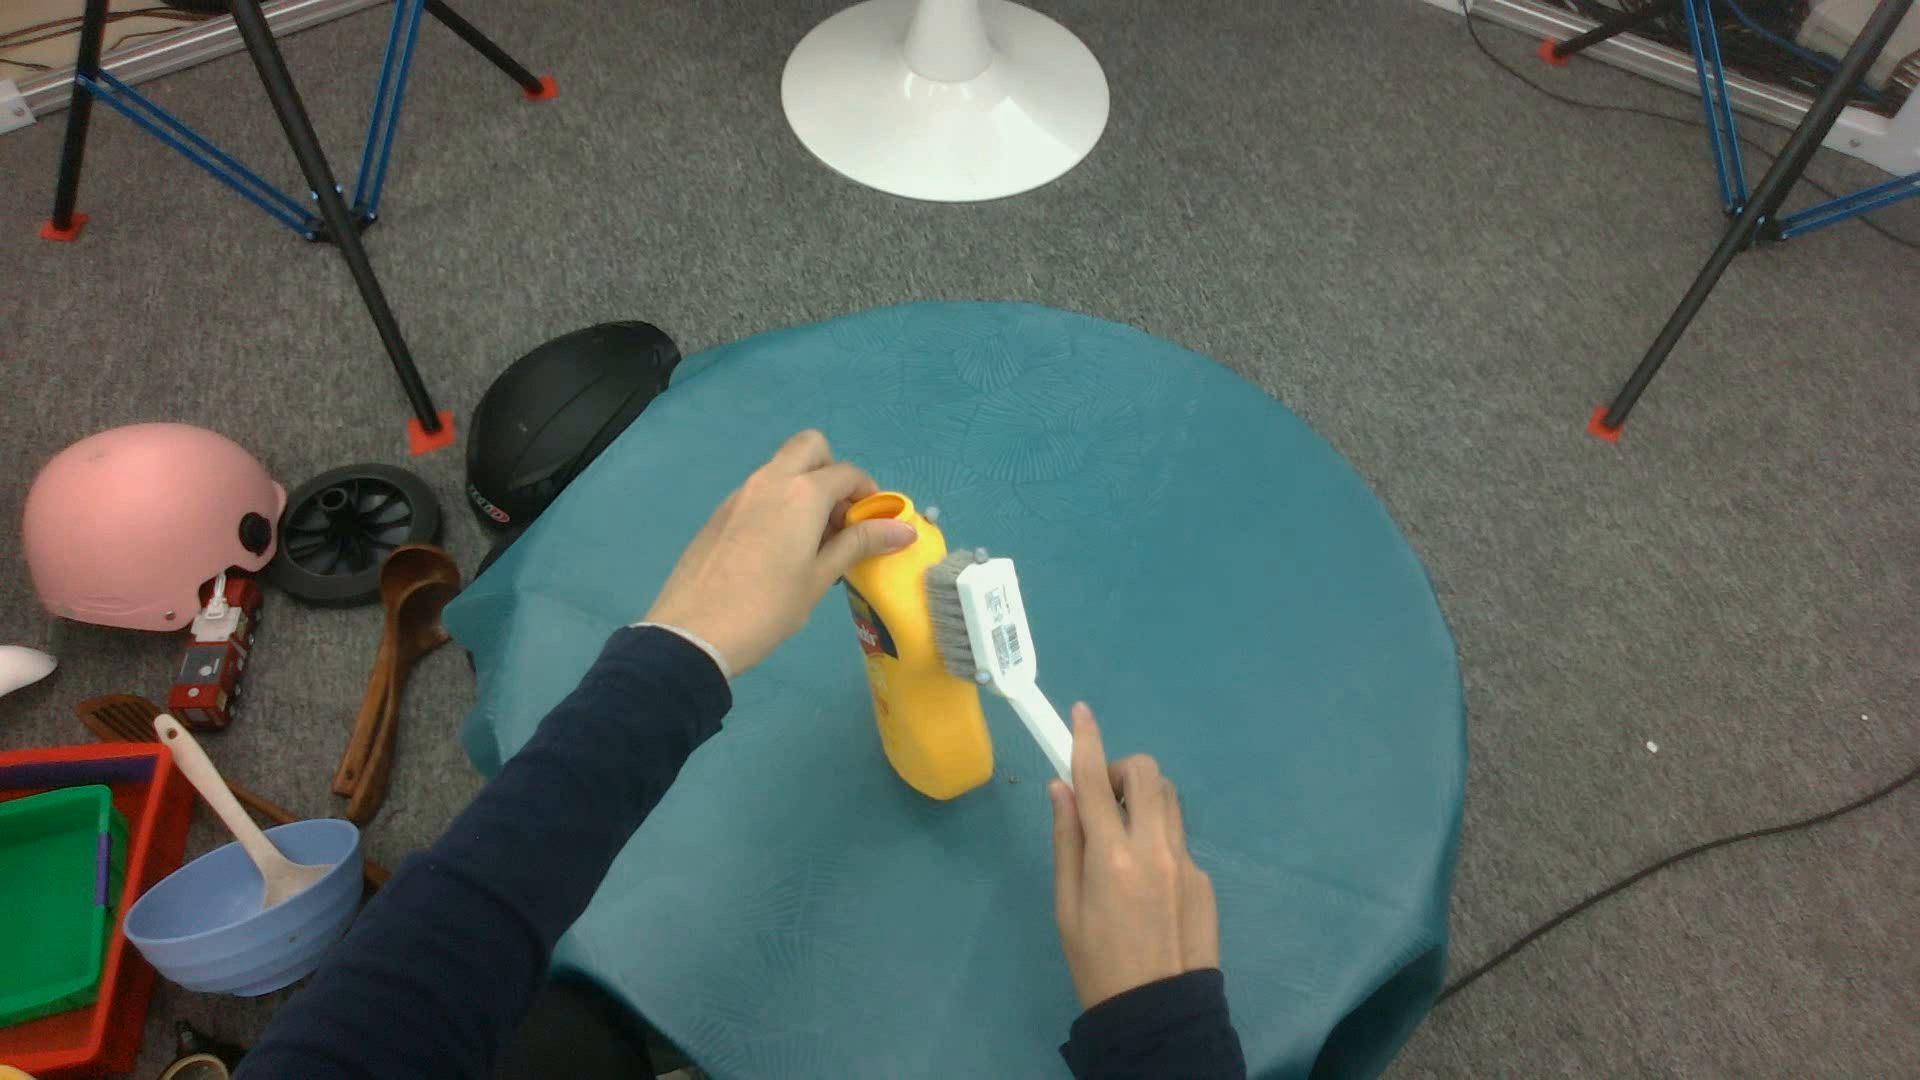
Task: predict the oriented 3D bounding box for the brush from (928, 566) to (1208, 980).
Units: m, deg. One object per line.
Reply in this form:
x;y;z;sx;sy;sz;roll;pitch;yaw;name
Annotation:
0.053;0.122;0.711;0.034;0.050;0.243;-33;96;-50;brush

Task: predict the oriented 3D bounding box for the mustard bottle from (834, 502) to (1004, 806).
-0.025;0.060;0.768;0.059;0.171;0.098;-27;36;-18;mustard bottle
